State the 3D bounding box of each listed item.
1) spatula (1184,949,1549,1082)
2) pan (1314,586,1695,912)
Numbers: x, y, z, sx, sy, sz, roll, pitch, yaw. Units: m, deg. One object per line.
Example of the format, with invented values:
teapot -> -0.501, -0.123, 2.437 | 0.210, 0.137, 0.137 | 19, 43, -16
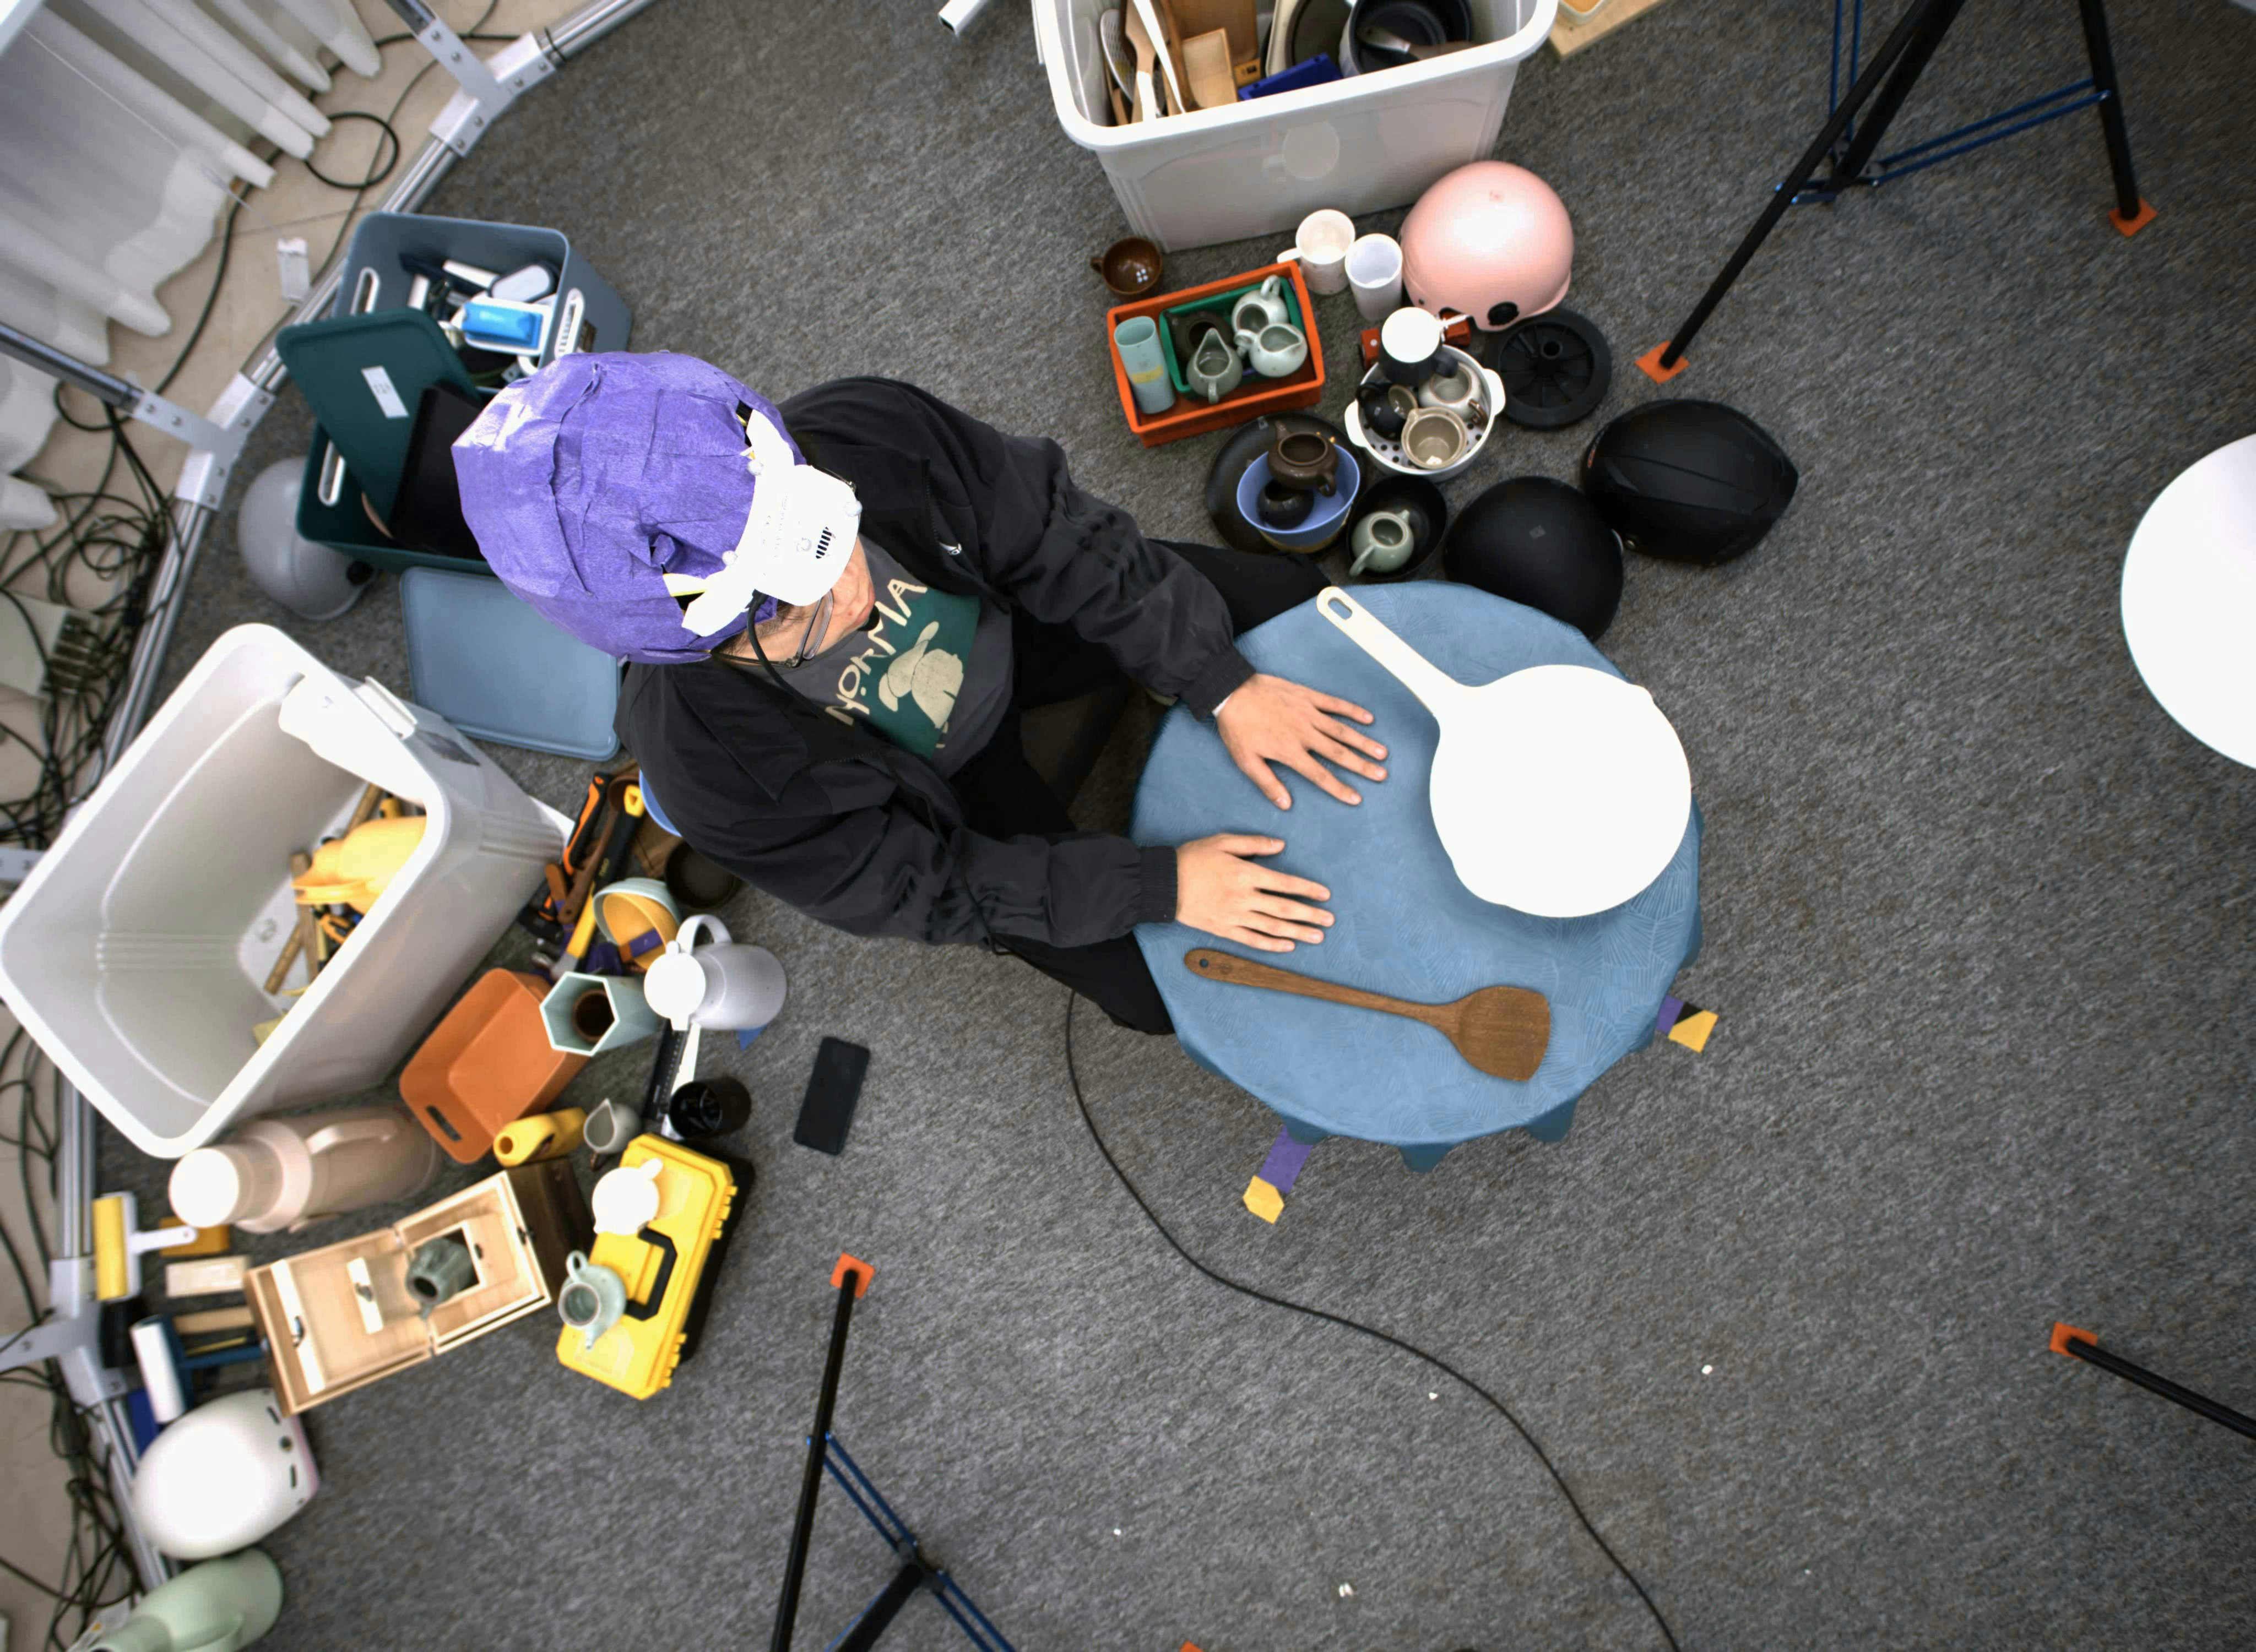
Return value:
spatula -> 0.245, 0.180, 1.450 | 0.386, 0.016, 0.096 | 12, 89, 11
pan -> 0.366, -0.099, 1.397 | 0.433, 0.102, 0.265 | 41, 96, 10
